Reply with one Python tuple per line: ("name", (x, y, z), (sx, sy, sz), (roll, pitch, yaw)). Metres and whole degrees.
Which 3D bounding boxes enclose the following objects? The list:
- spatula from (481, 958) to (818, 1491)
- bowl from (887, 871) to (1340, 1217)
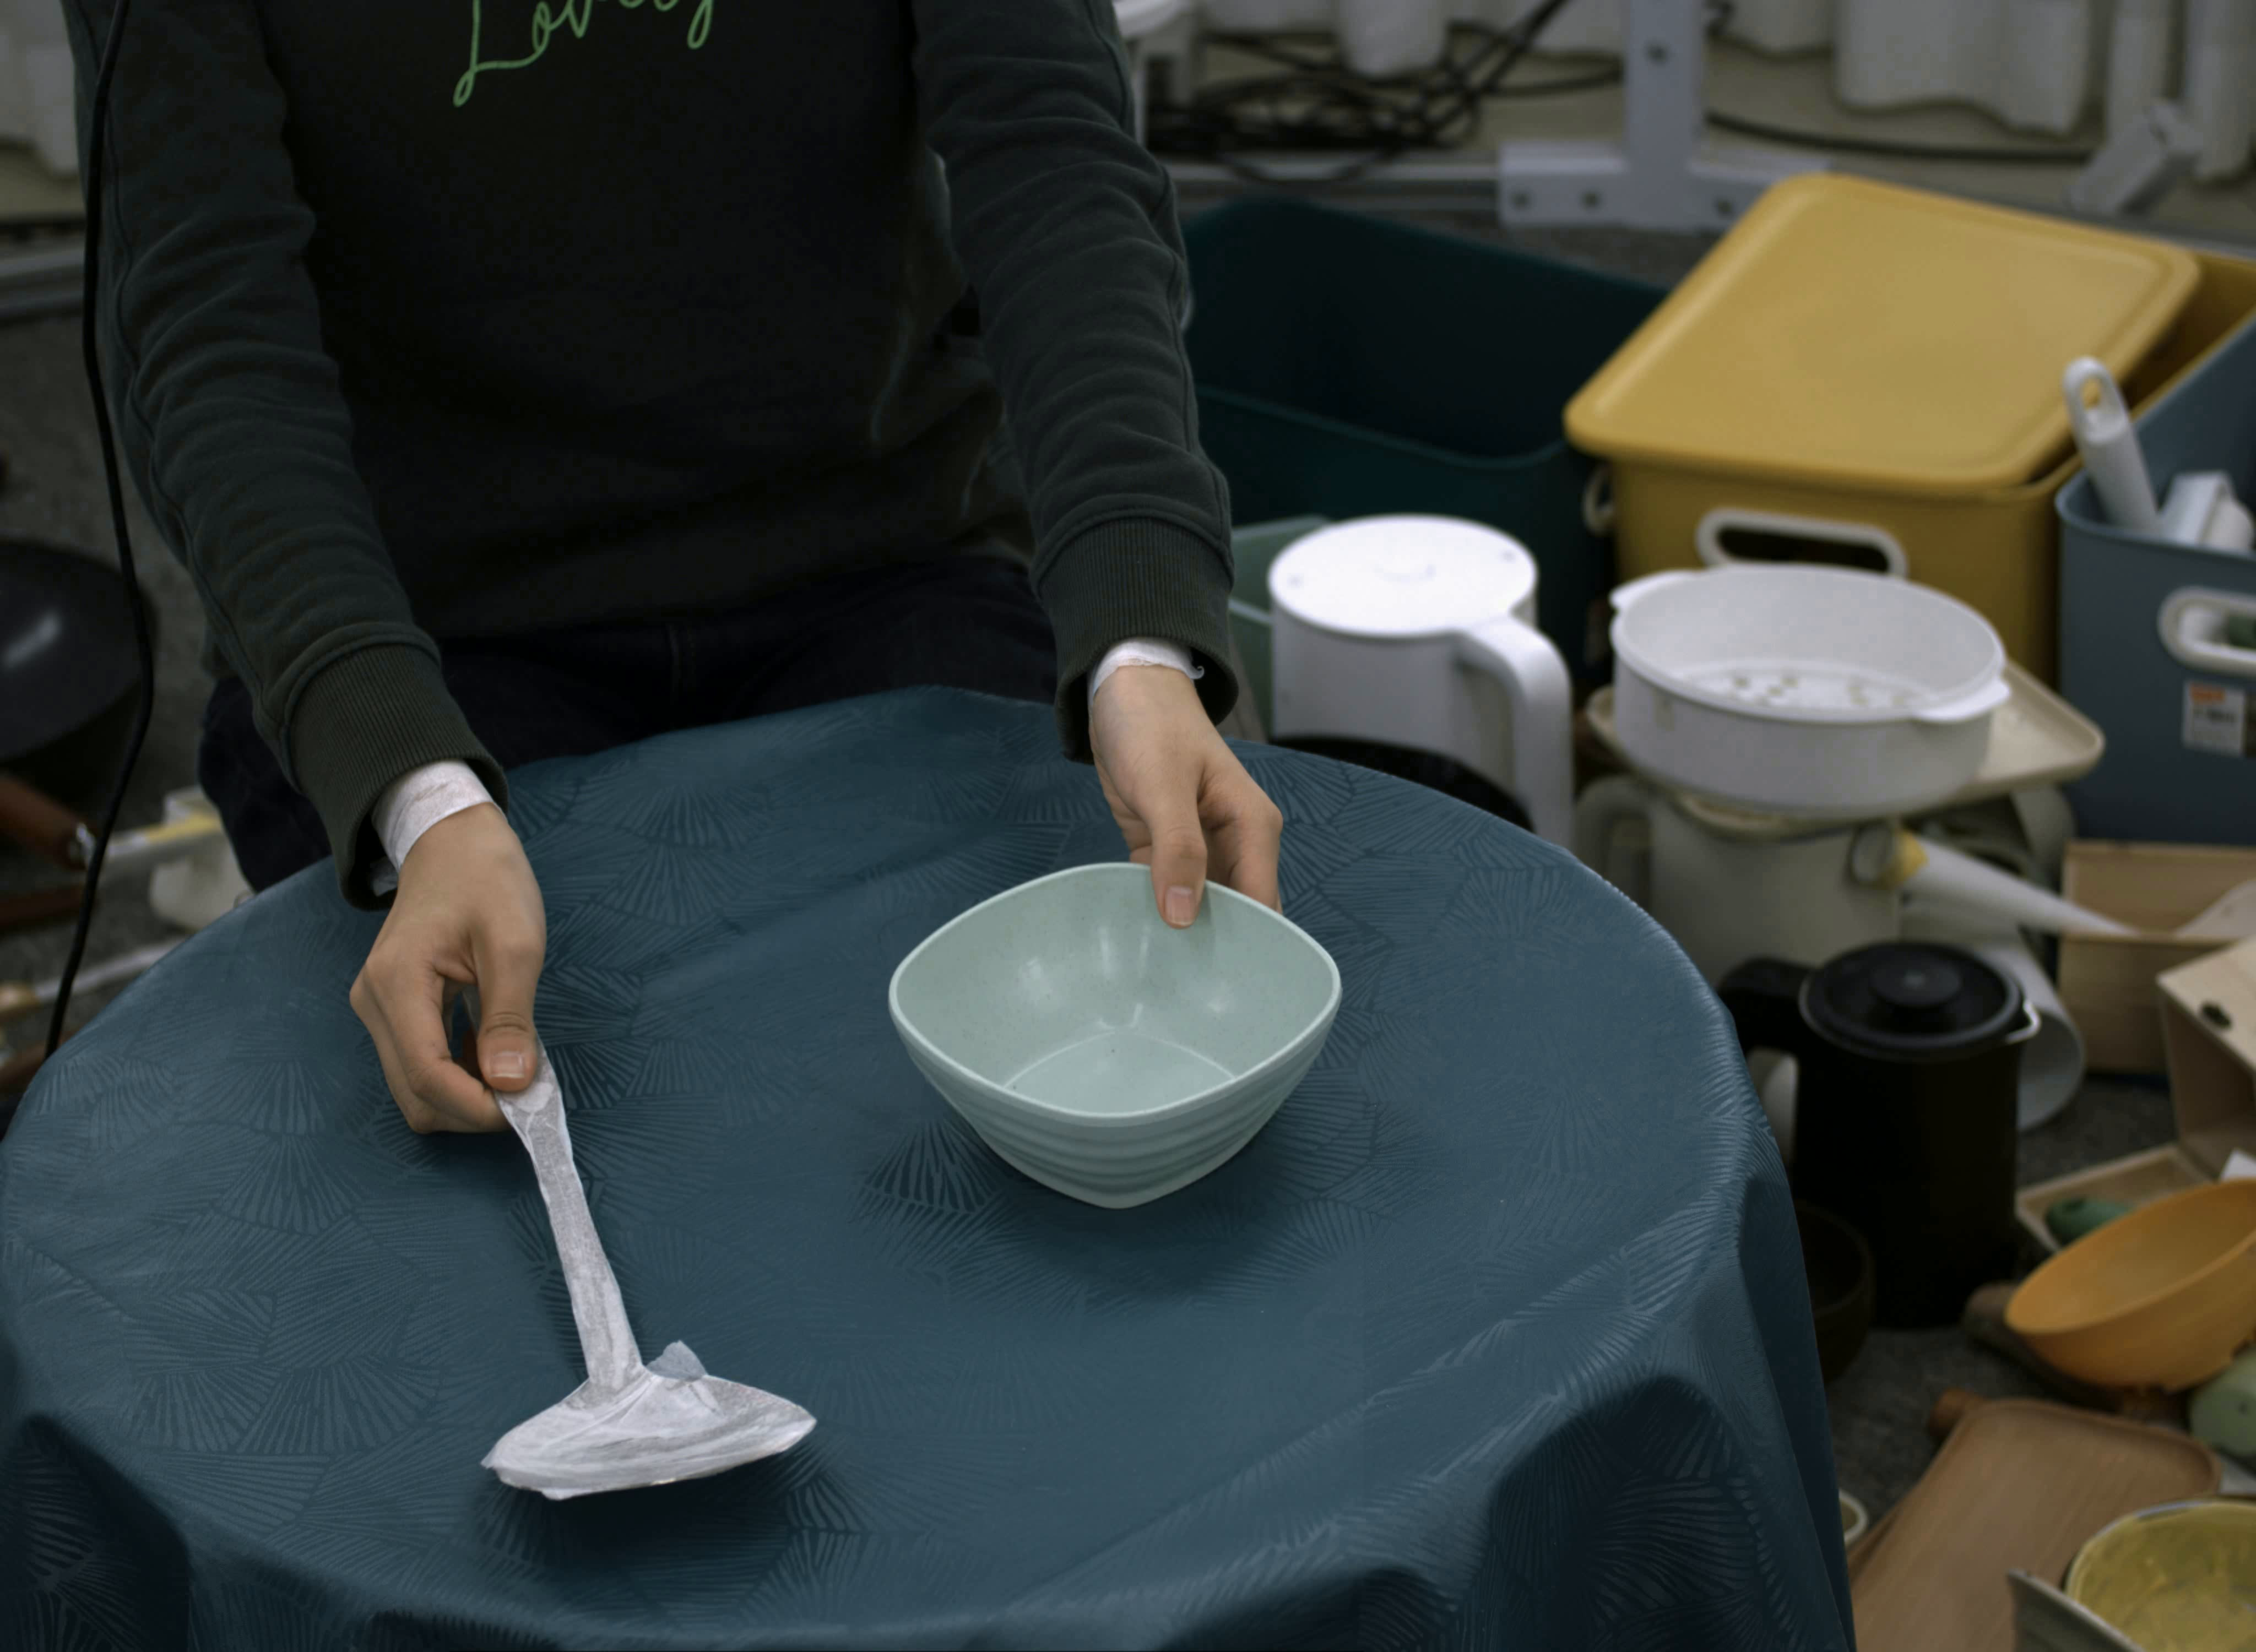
("spatula", (-0.179, 0.121, 1.826), (0.098, 0.044, 0.369), (-10, 32, -10))
("bowl", (-0.005, 0.079, 1.881), (0.151, 0.058, 0.154), (0, 31, 0))
